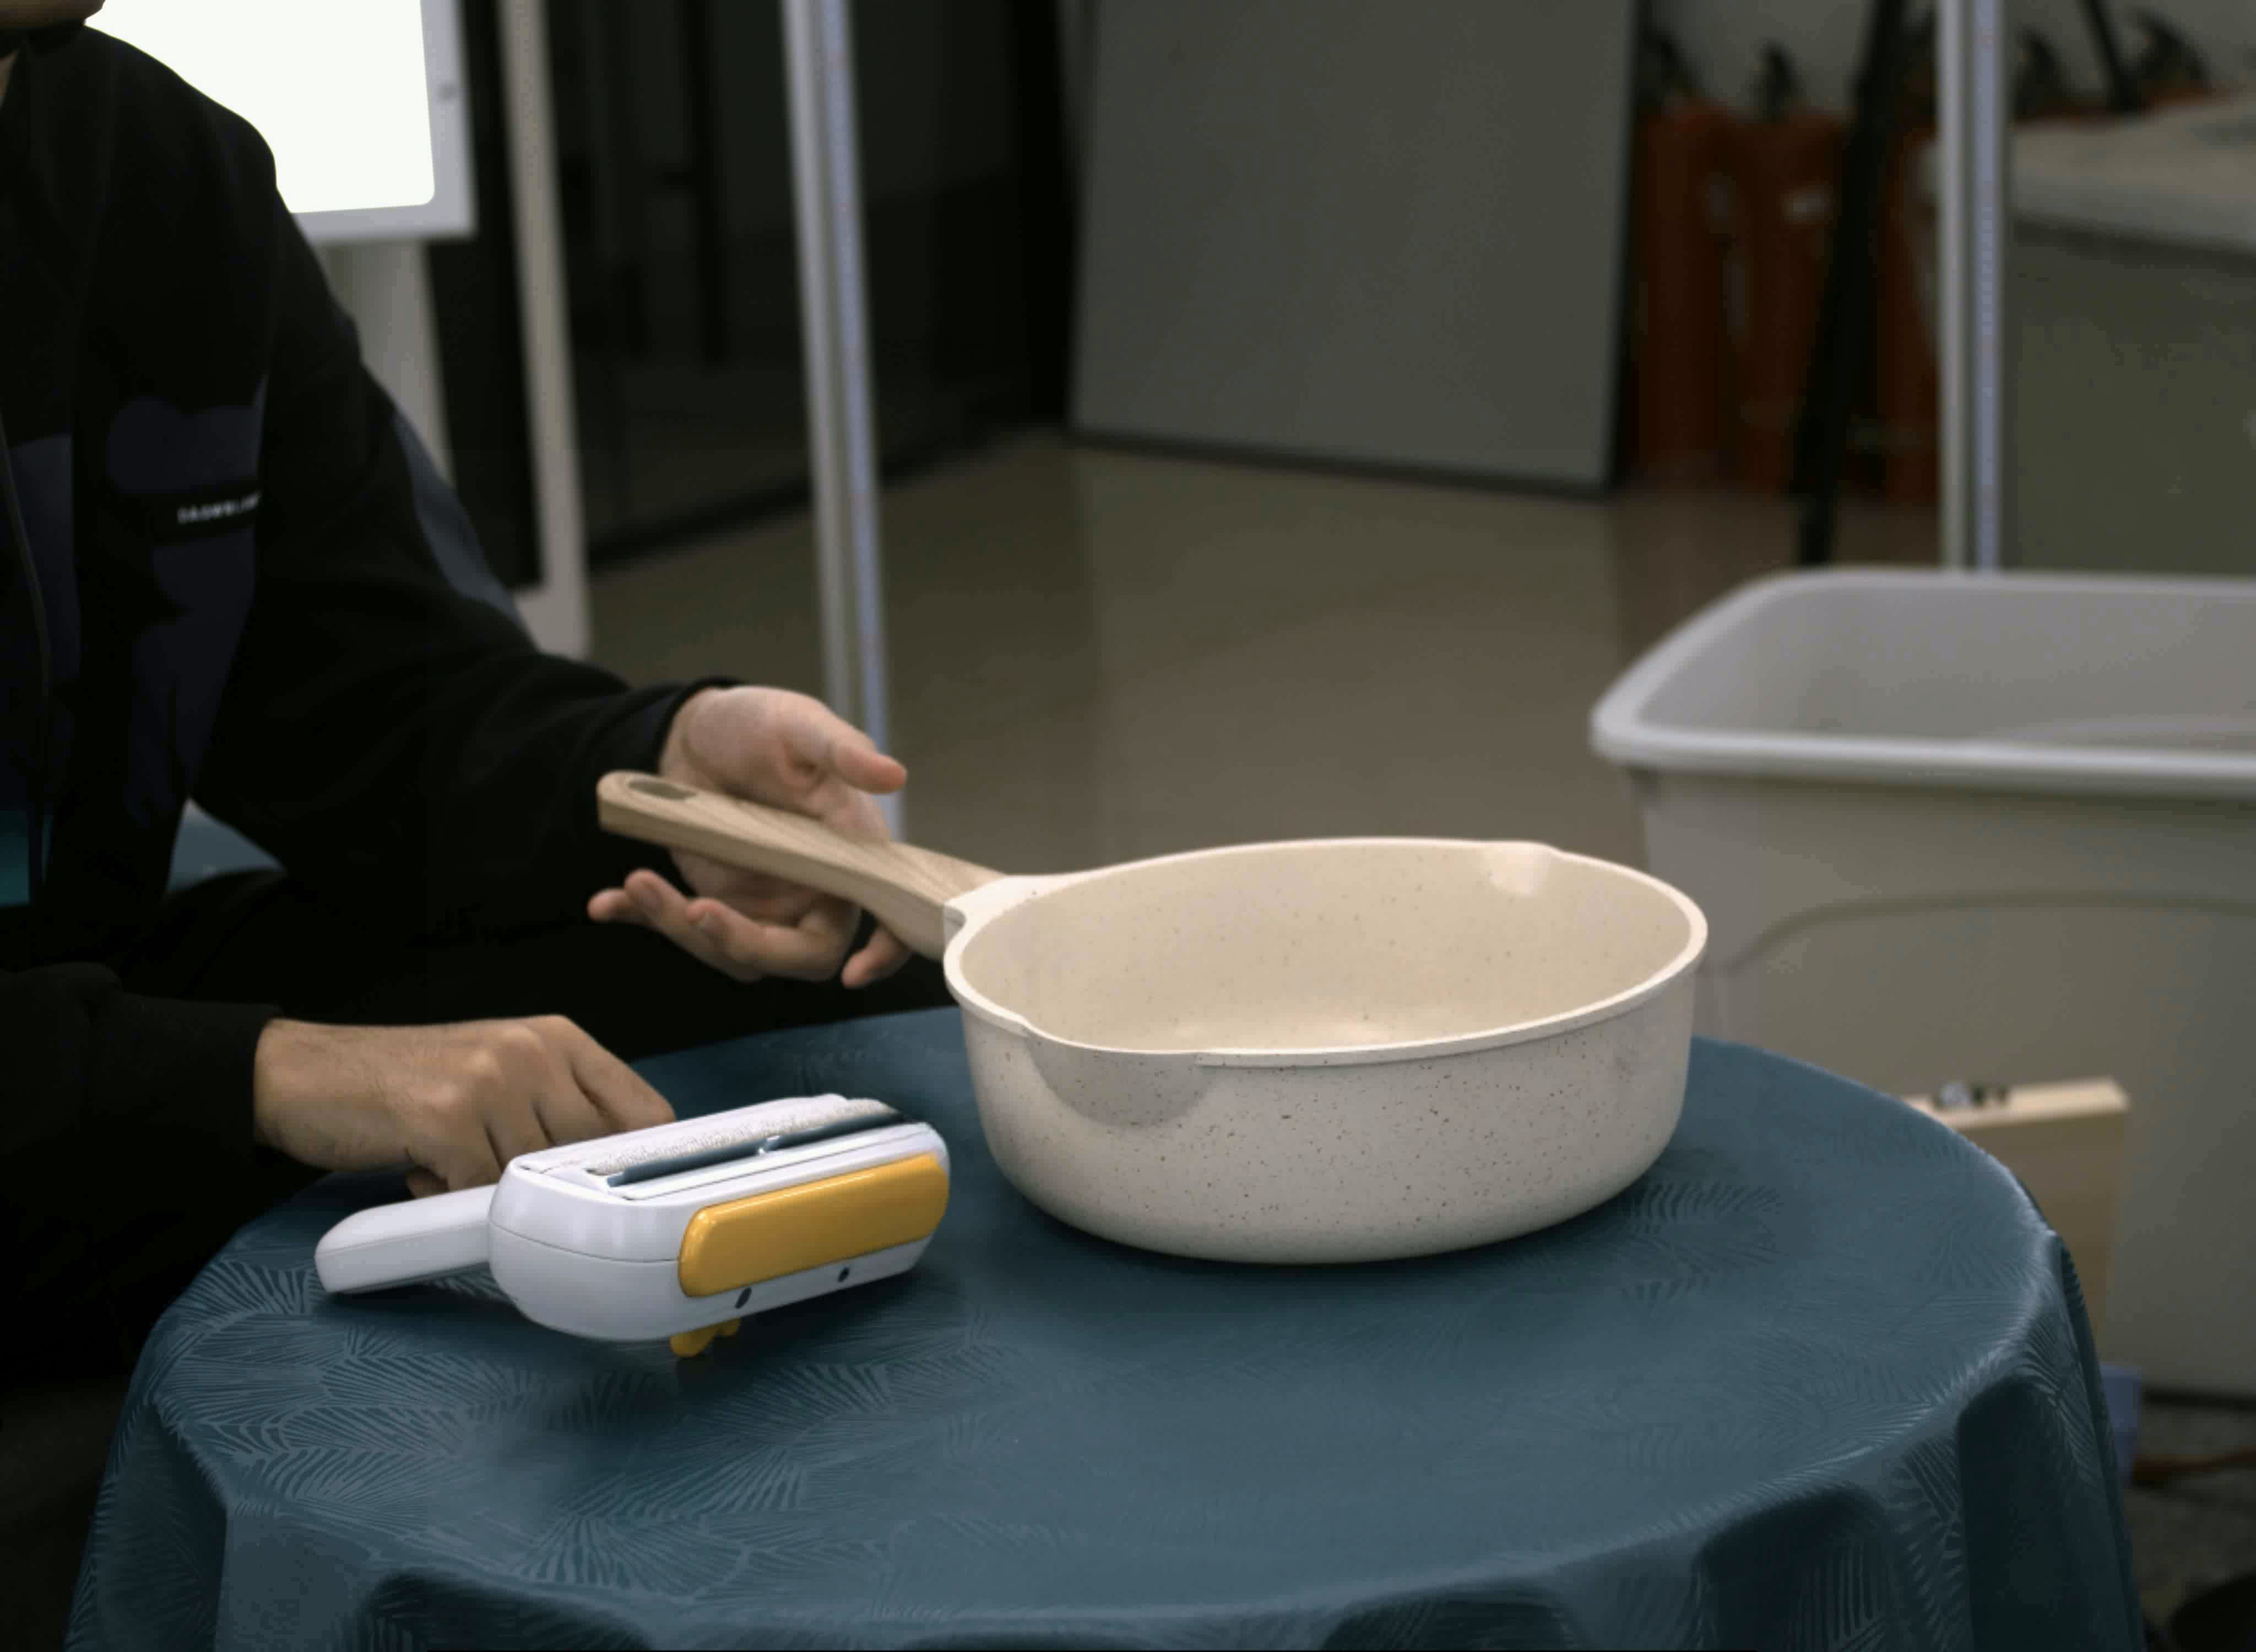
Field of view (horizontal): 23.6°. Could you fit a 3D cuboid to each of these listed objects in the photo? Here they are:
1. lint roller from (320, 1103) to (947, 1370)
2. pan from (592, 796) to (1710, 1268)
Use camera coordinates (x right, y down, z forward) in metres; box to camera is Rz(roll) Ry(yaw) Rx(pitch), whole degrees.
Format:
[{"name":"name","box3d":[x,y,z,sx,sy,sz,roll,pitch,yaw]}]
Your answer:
[{"name":"lint roller","box3d":[-0.174,0.123,1.672,0.193,0.075,0.189,3,10,34]},{"name":"pan","box3d":[-0.006,0.058,1.820,0.438,0.103,0.259,6,20,36]}]
